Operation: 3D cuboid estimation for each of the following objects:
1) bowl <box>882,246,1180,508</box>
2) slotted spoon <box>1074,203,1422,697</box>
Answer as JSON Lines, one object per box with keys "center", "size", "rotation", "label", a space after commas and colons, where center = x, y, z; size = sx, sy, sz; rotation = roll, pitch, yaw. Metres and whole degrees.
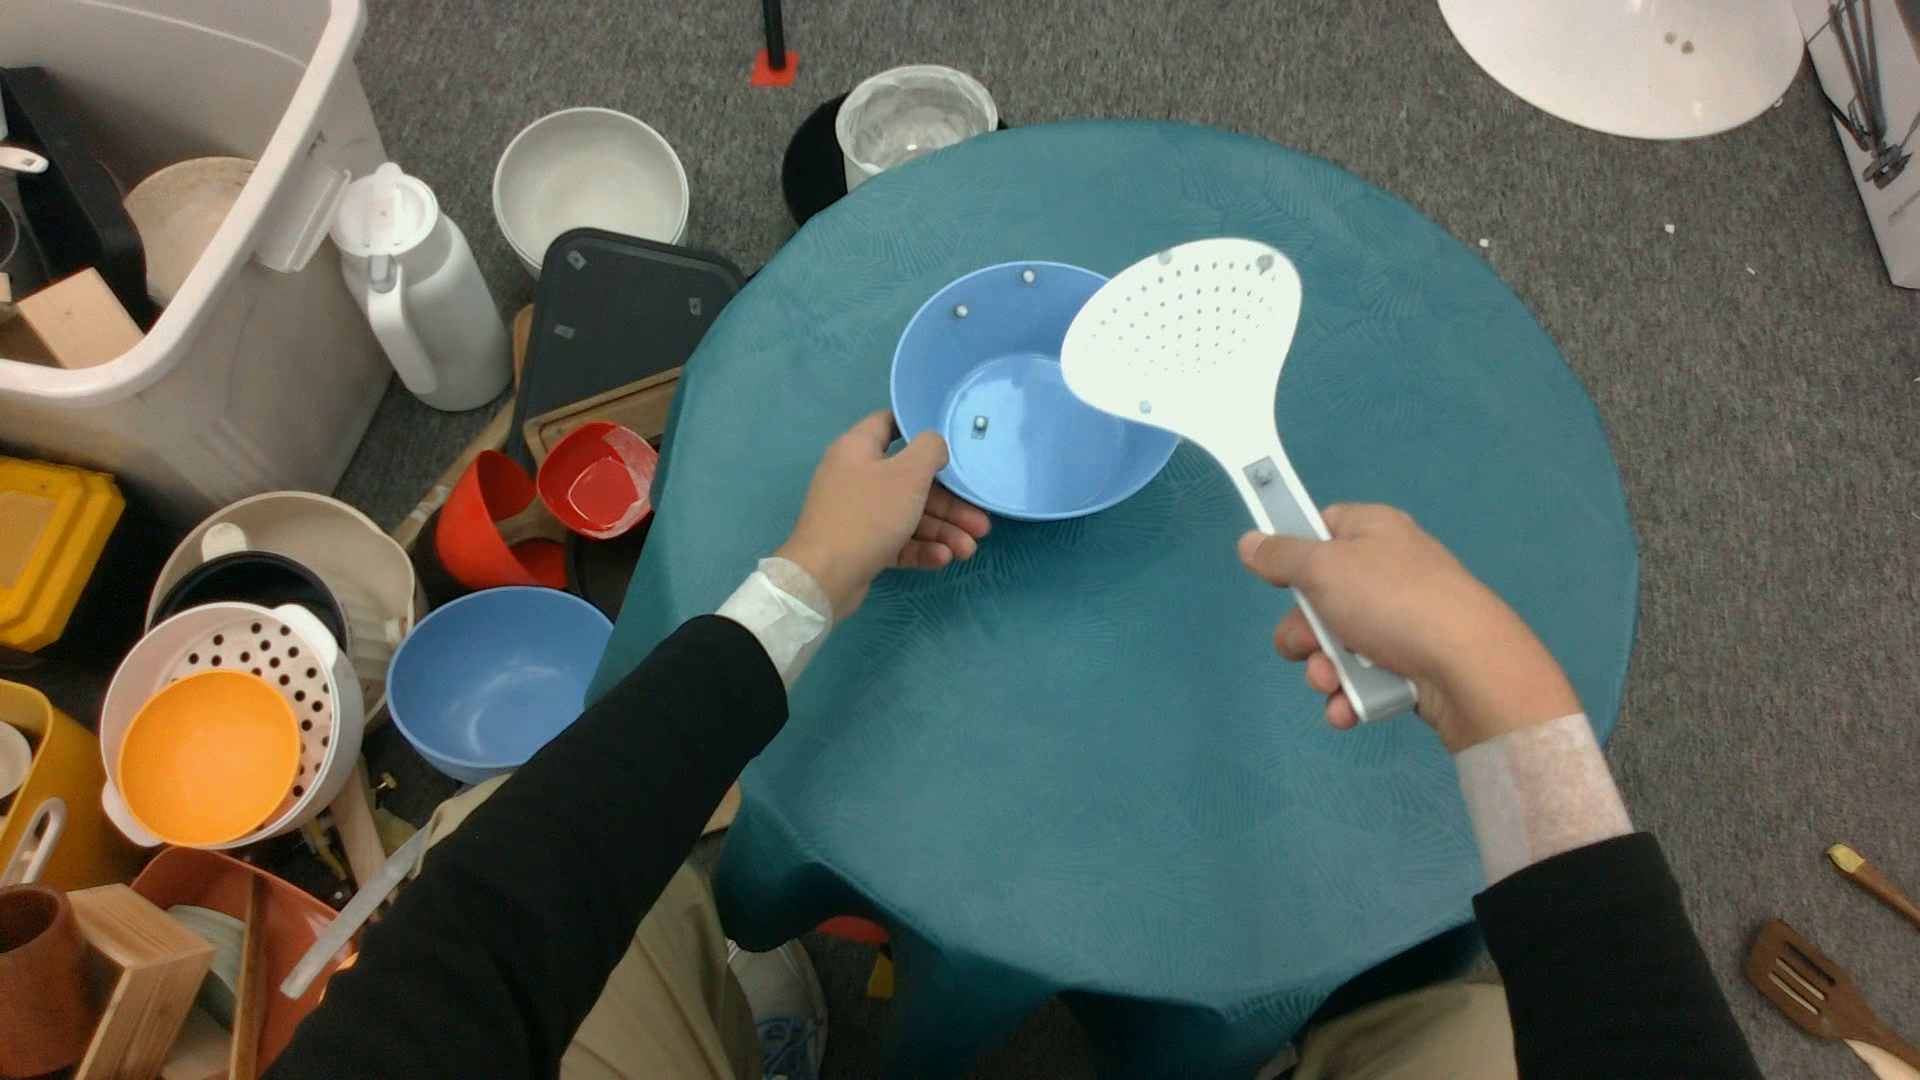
{"center": [0.040, -0.087, 0.834], "size": [0.176, 0.070, 0.176], "rotation": [1, 66, -2], "label": "bowl"}
{"center": [0.147, -0.061, 0.675], "size": [0.136, 0.045, 0.351], "rotation": [-21, 39, 8], "label": "slotted spoon"}
